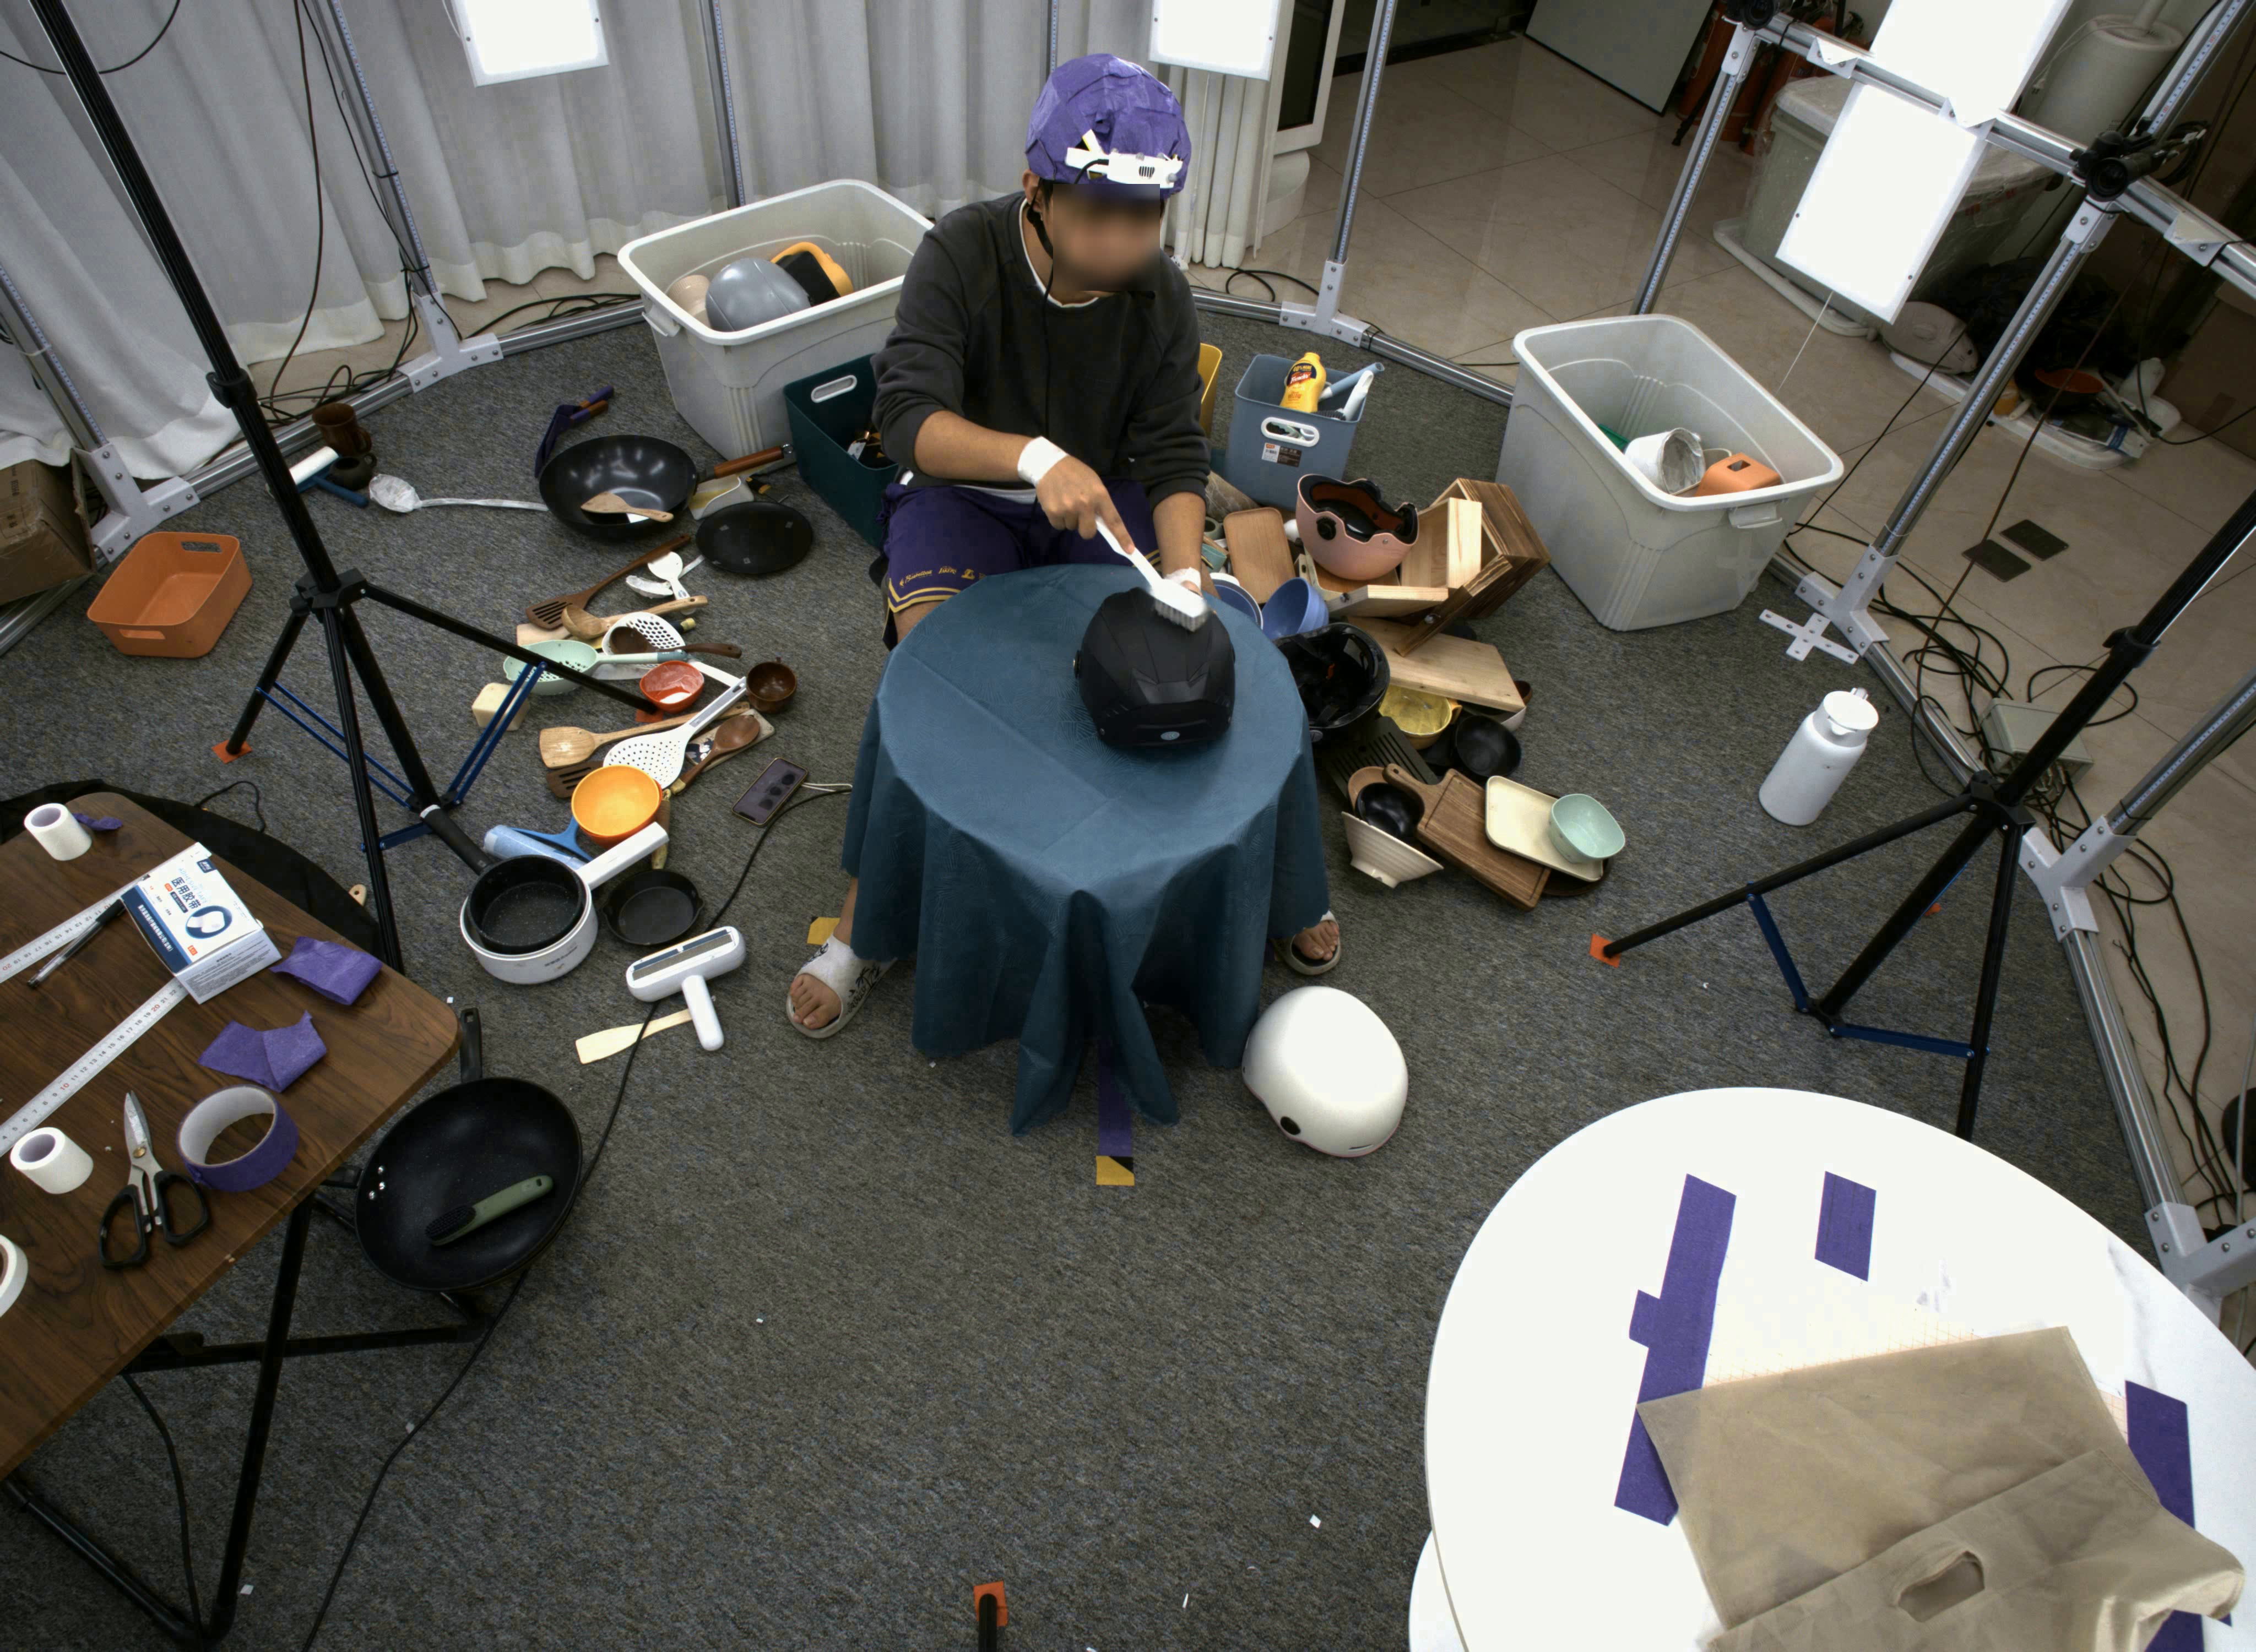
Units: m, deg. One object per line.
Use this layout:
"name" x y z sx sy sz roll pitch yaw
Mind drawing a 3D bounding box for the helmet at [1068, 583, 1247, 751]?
"helmet" 0.044 -0.239 1.770 0.246 0.168 0.283 -4 53 -5

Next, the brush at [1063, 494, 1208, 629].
"brush" 0.006 -0.345 1.692 0.244 0.049 0.035 39 54 3
